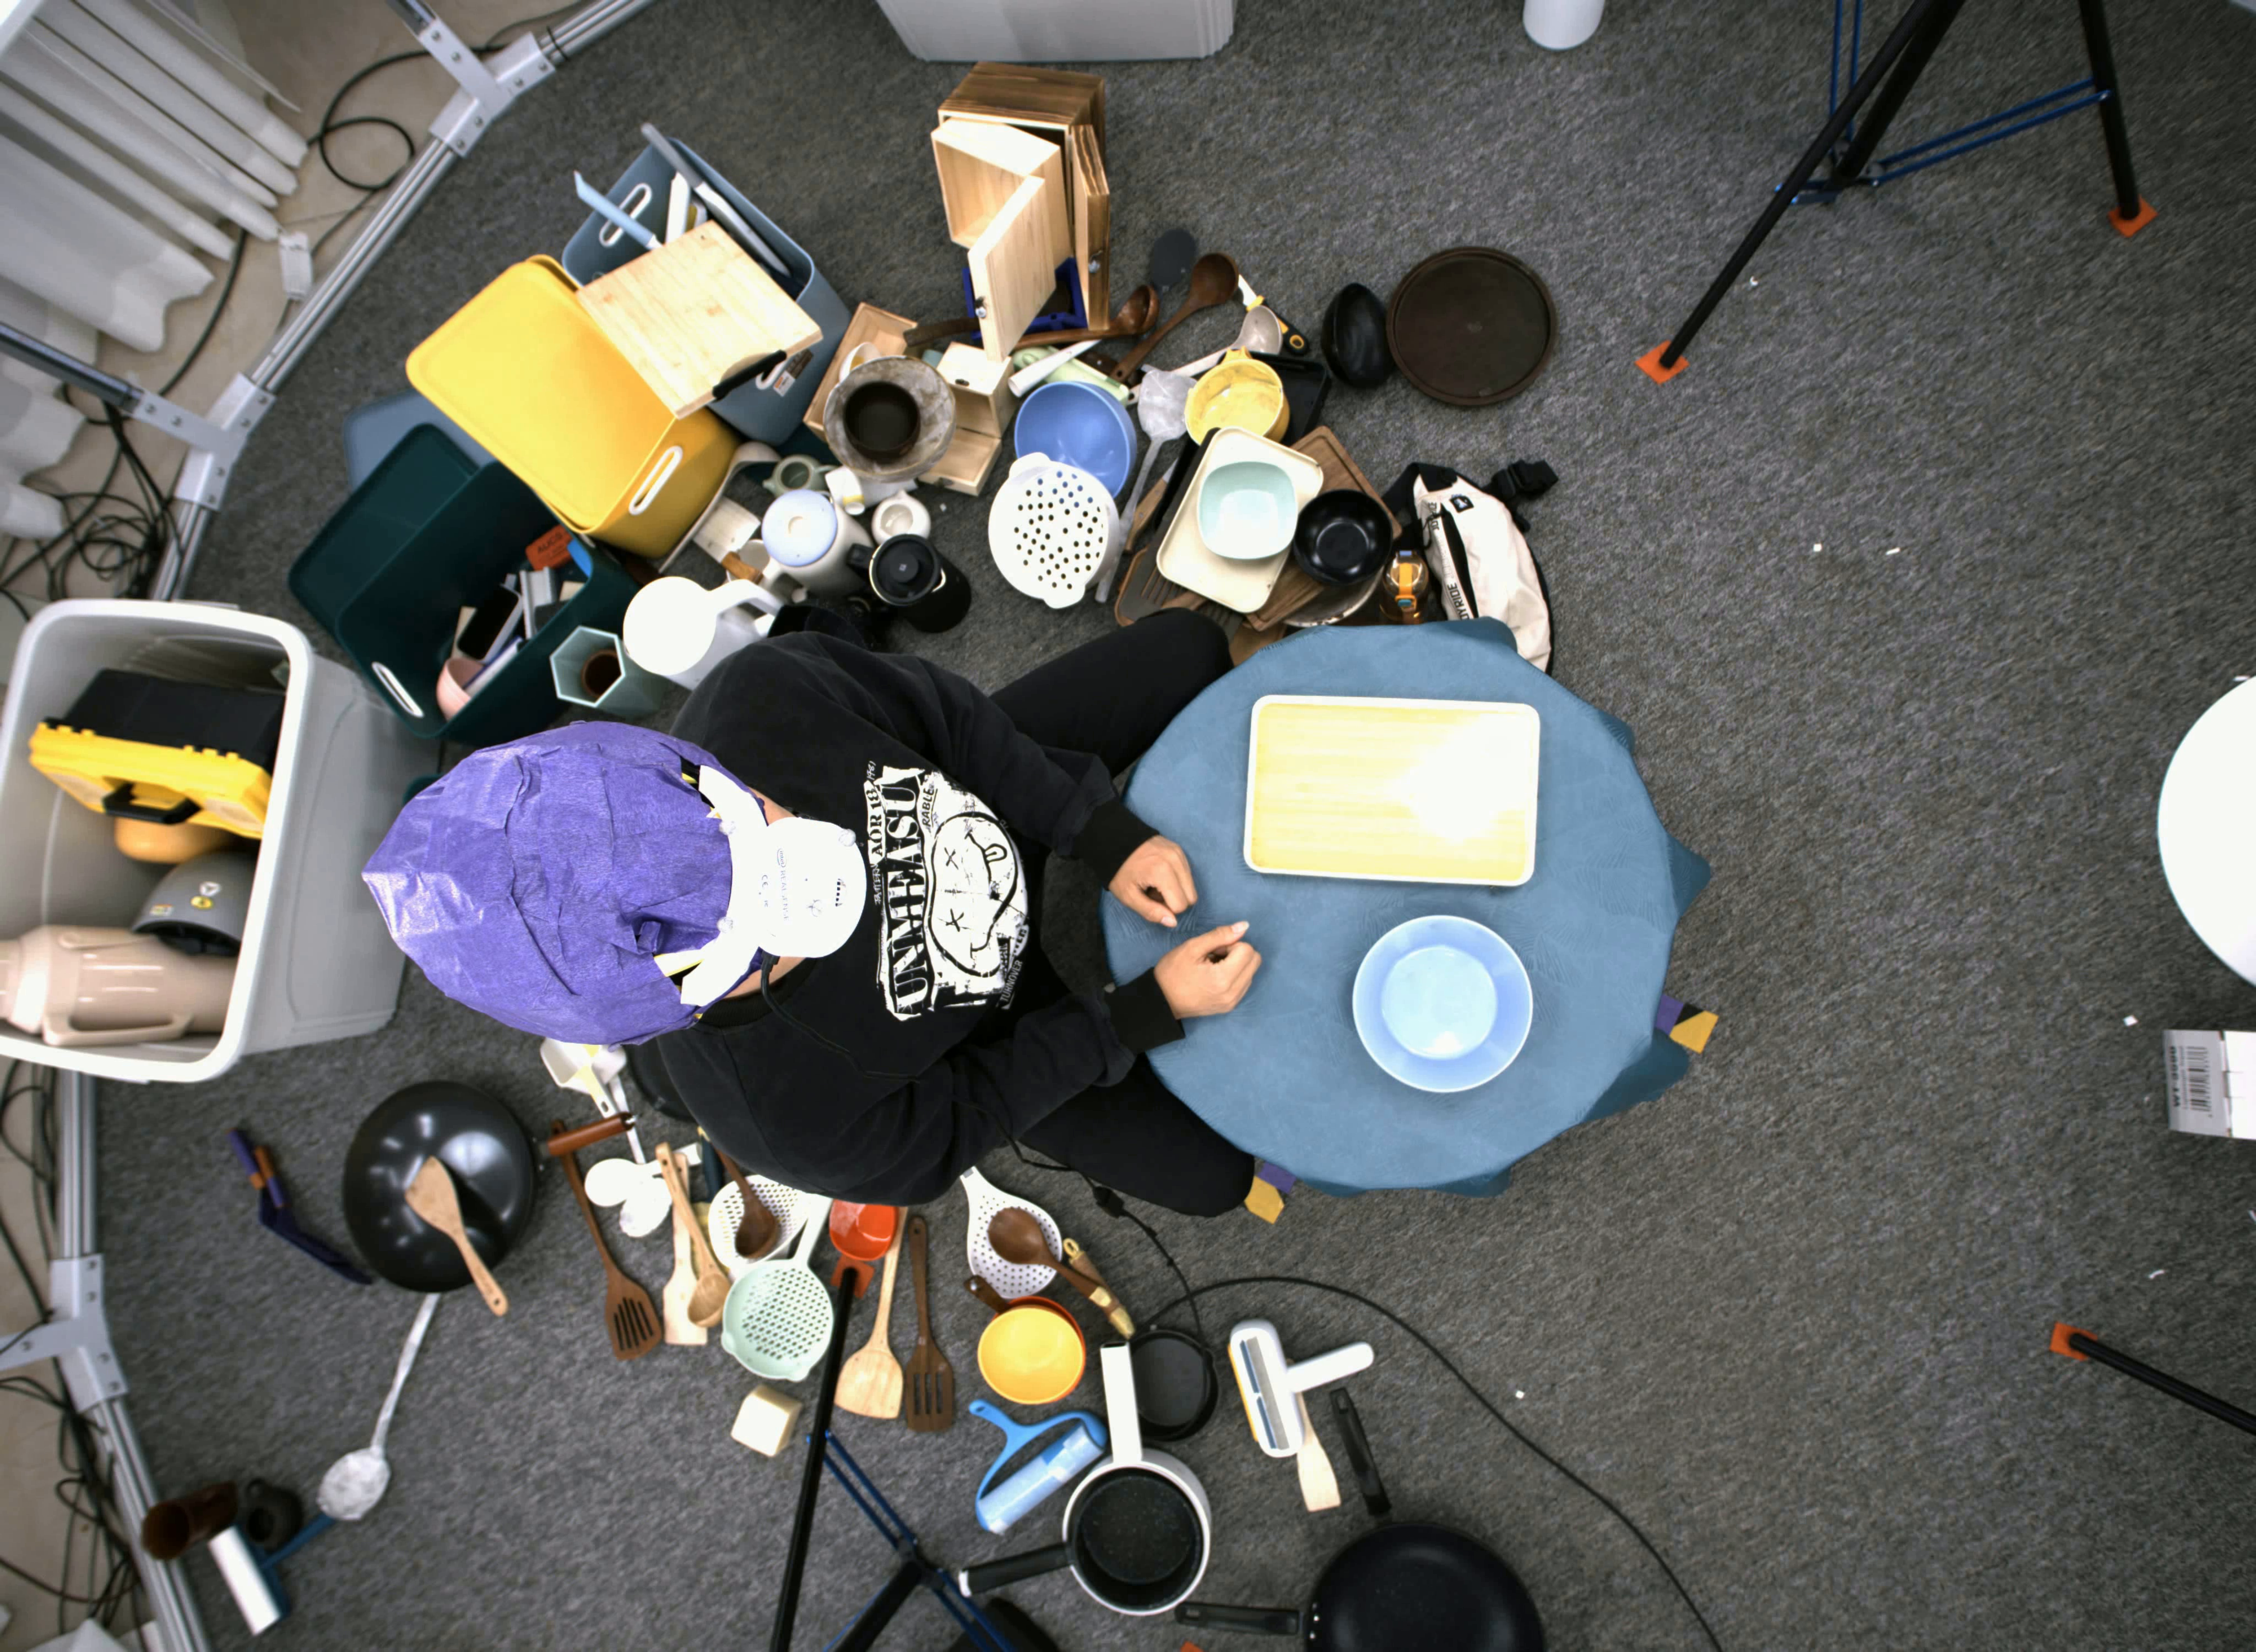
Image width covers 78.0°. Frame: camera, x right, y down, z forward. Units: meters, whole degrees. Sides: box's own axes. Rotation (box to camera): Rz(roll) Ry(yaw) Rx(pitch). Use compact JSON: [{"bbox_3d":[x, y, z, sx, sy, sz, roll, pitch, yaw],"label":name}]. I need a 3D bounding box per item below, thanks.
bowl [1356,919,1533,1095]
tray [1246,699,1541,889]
[{"bbox_3d":[0.321,0.183,1.411,0.177,0.070,0.175,-1,85,10],"label":"bowl"},{"bbox_3d":[0.279,-0.036,1.457,0.301,0.027,0.190,3,86,10],"label":"tray"}]
